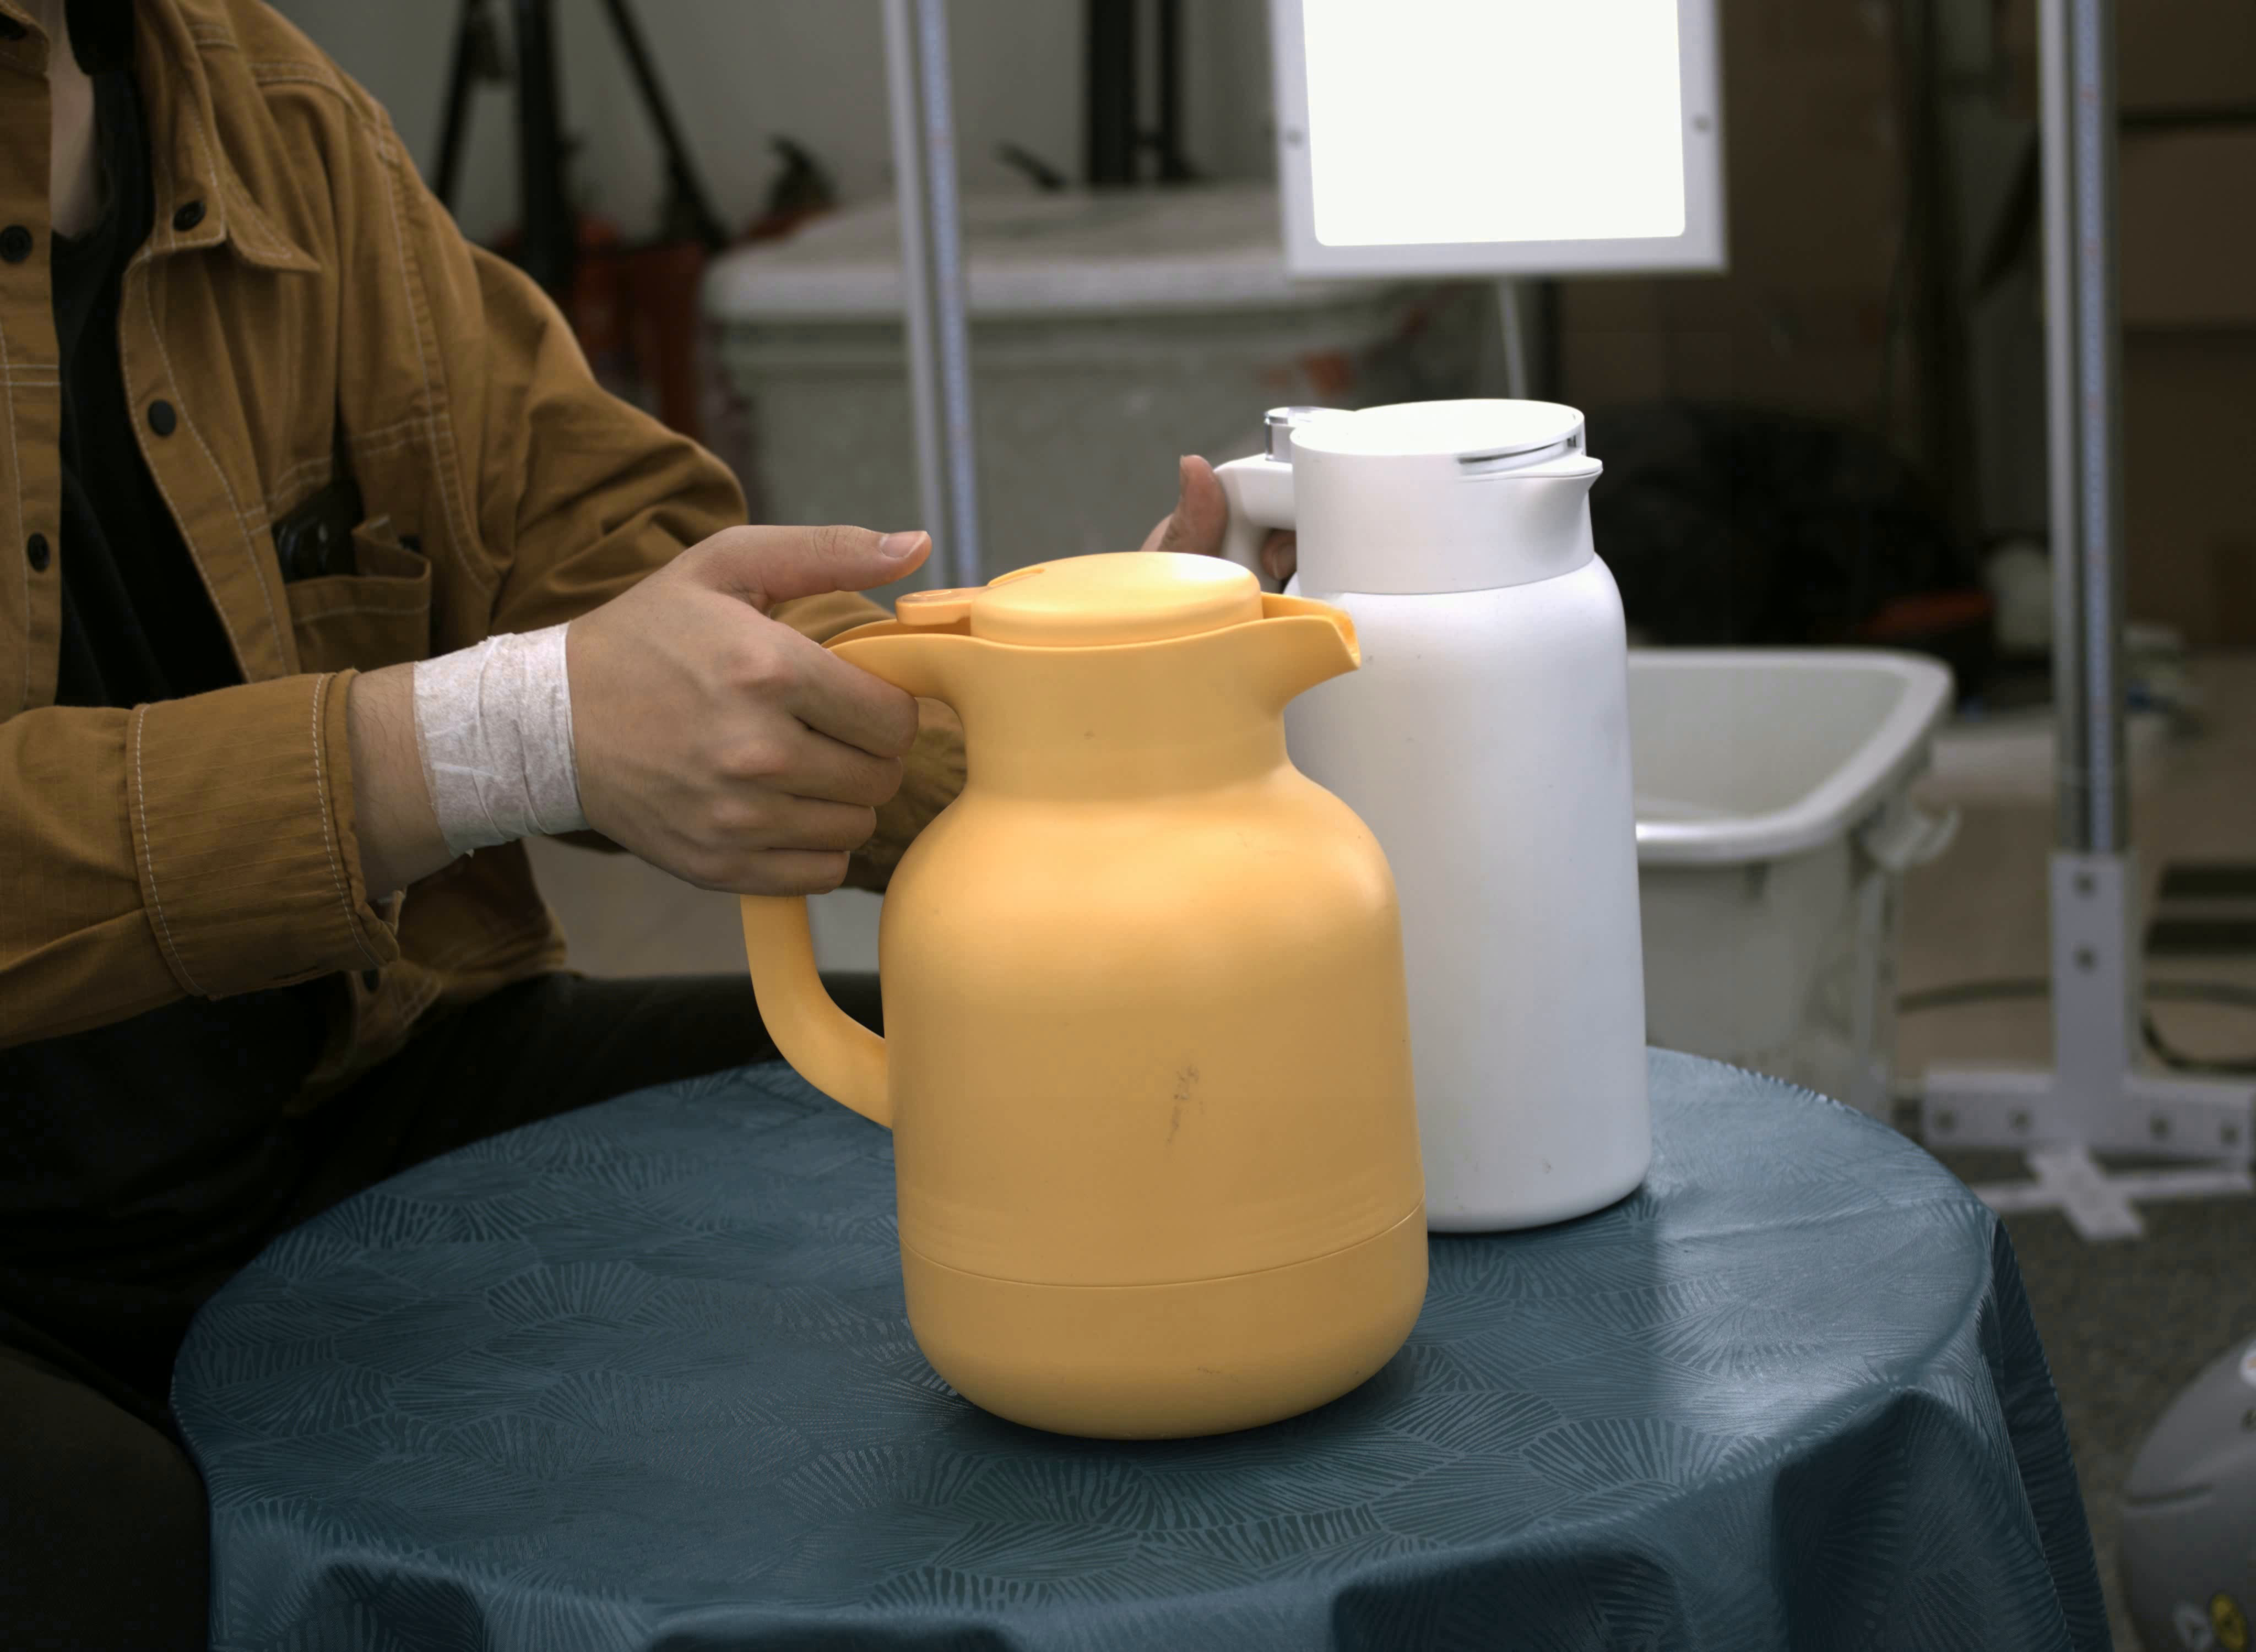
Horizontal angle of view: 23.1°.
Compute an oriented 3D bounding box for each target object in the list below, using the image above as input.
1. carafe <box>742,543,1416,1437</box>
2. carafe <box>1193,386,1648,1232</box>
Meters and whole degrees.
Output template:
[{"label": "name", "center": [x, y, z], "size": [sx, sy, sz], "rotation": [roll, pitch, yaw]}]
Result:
[{"label": "carafe", "center": [-0.015, 0.046, 1.681], "size": [0.204, 0.261, 0.161], "rotation": [0, 11, 14]}, {"label": "carafe", "center": [0.097, -0.008, 1.848], "size": [0.121, 0.270, 0.176], "rotation": [-20, 20, -41]}]
